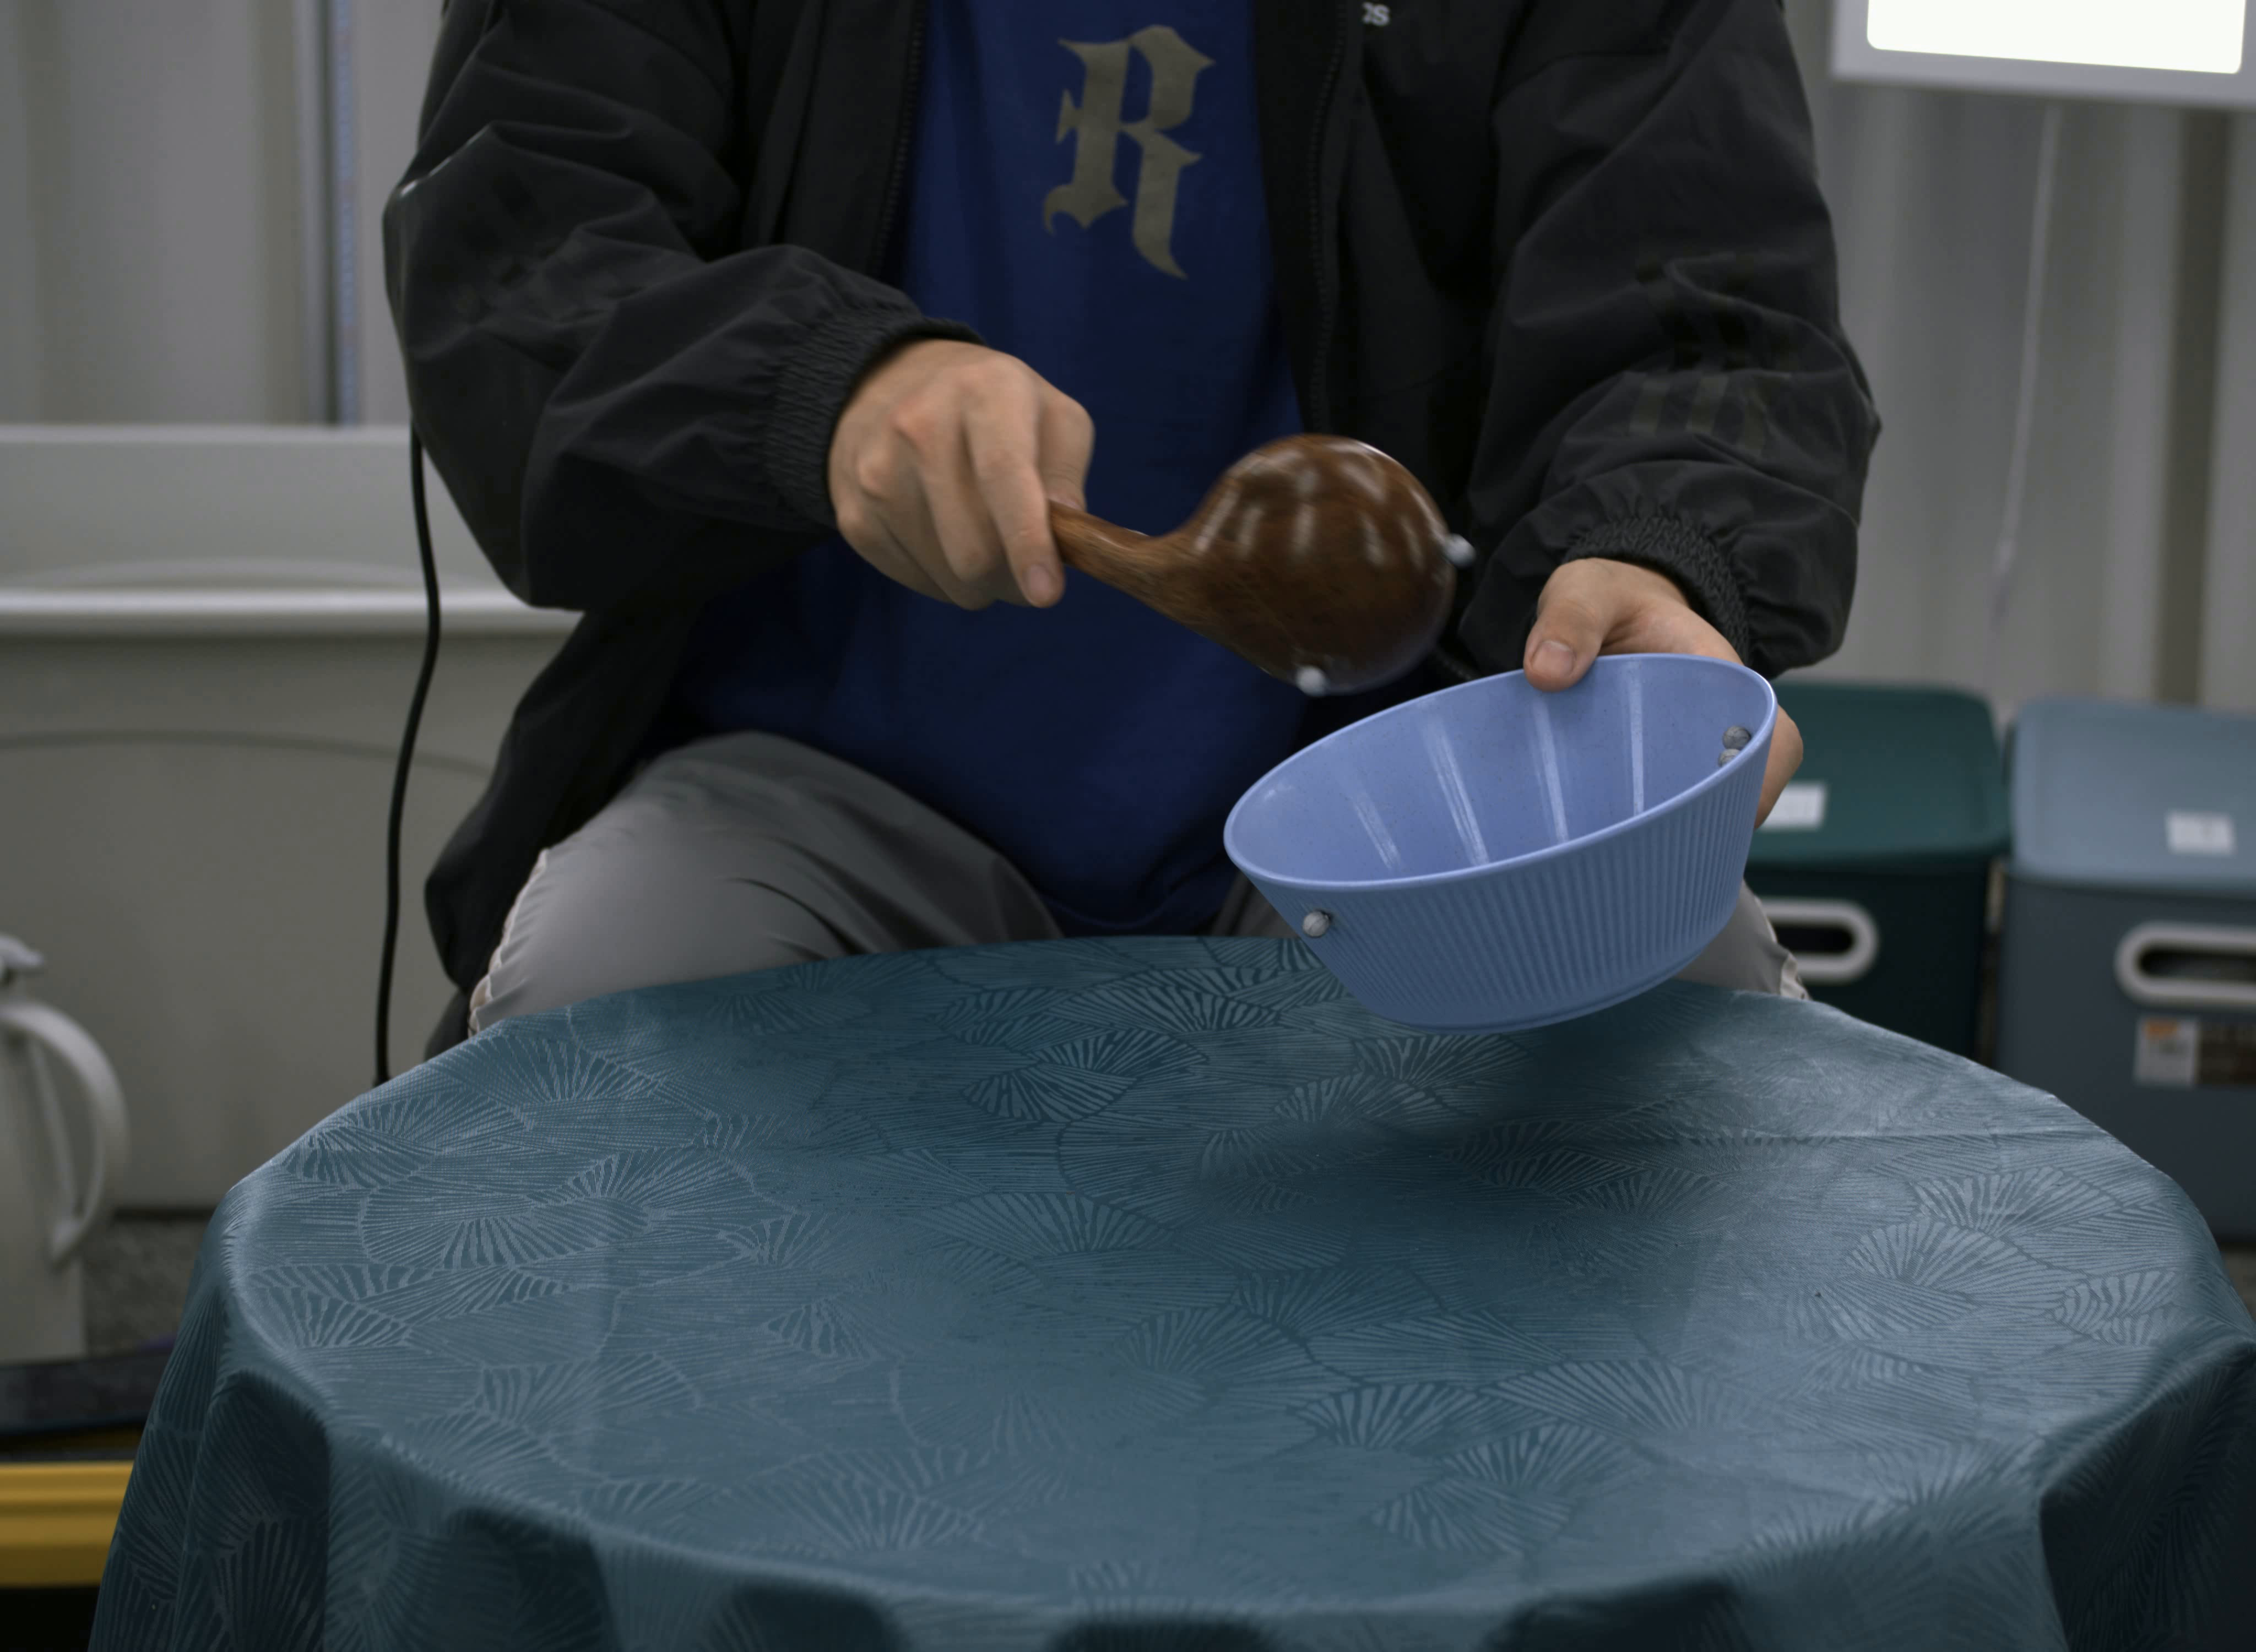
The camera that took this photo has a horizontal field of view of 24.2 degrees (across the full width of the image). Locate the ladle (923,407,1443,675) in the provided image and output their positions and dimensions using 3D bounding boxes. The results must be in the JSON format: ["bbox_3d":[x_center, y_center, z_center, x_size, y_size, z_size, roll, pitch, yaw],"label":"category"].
[{"bbox_3d":[0.014,-0.098,1.688,0.077,0.082,0.271,-14,12,-20],"label":"ladle"}]

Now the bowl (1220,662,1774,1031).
[{"bbox_3d":[0.121,0.011,1.634,0.175,0.071,0.175,-14,18,5],"label":"bowl"}]
